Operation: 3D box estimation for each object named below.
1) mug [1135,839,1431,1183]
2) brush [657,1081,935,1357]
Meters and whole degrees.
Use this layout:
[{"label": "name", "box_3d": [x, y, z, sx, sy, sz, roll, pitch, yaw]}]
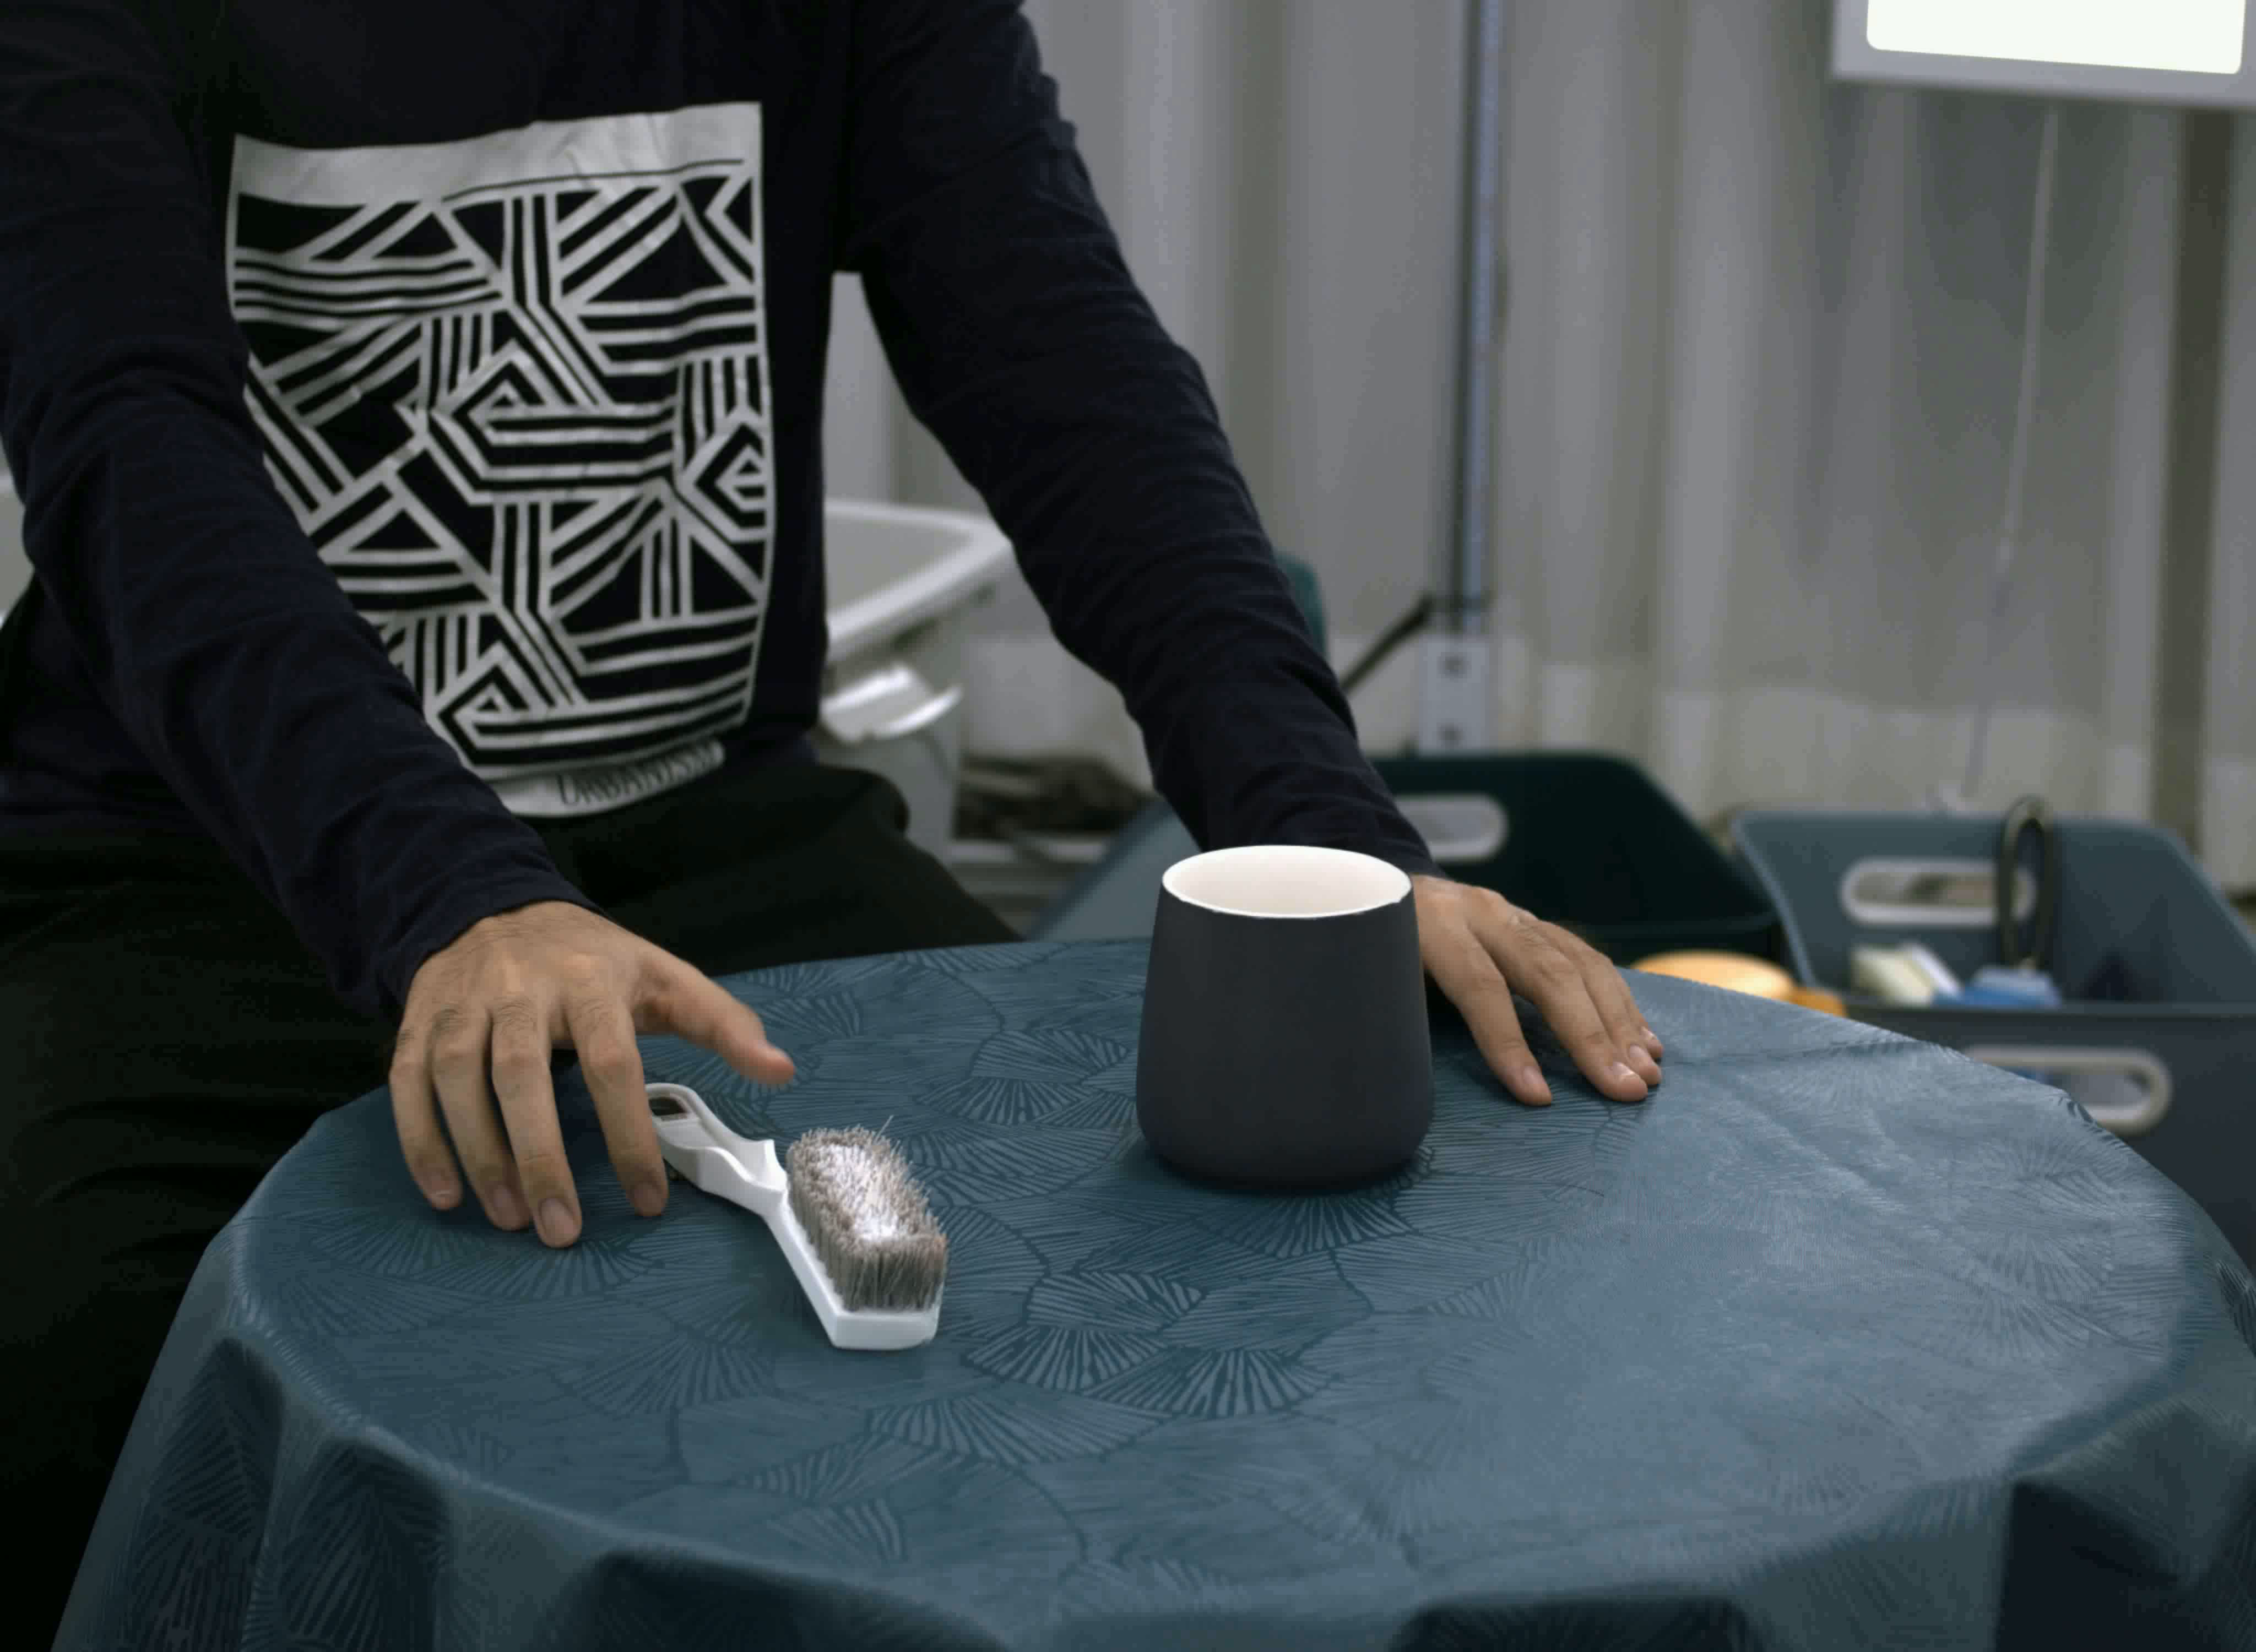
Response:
[{"label": "mug", "box_3d": [0.046, 0.054, 1.663, 0.093, 0.090, 0.122, -2, 17, -15]}, {"label": "brush", "box_3d": [-0.105, 0.098, 1.584, 0.034, 0.050, 0.241, -9, 18, -17]}]
